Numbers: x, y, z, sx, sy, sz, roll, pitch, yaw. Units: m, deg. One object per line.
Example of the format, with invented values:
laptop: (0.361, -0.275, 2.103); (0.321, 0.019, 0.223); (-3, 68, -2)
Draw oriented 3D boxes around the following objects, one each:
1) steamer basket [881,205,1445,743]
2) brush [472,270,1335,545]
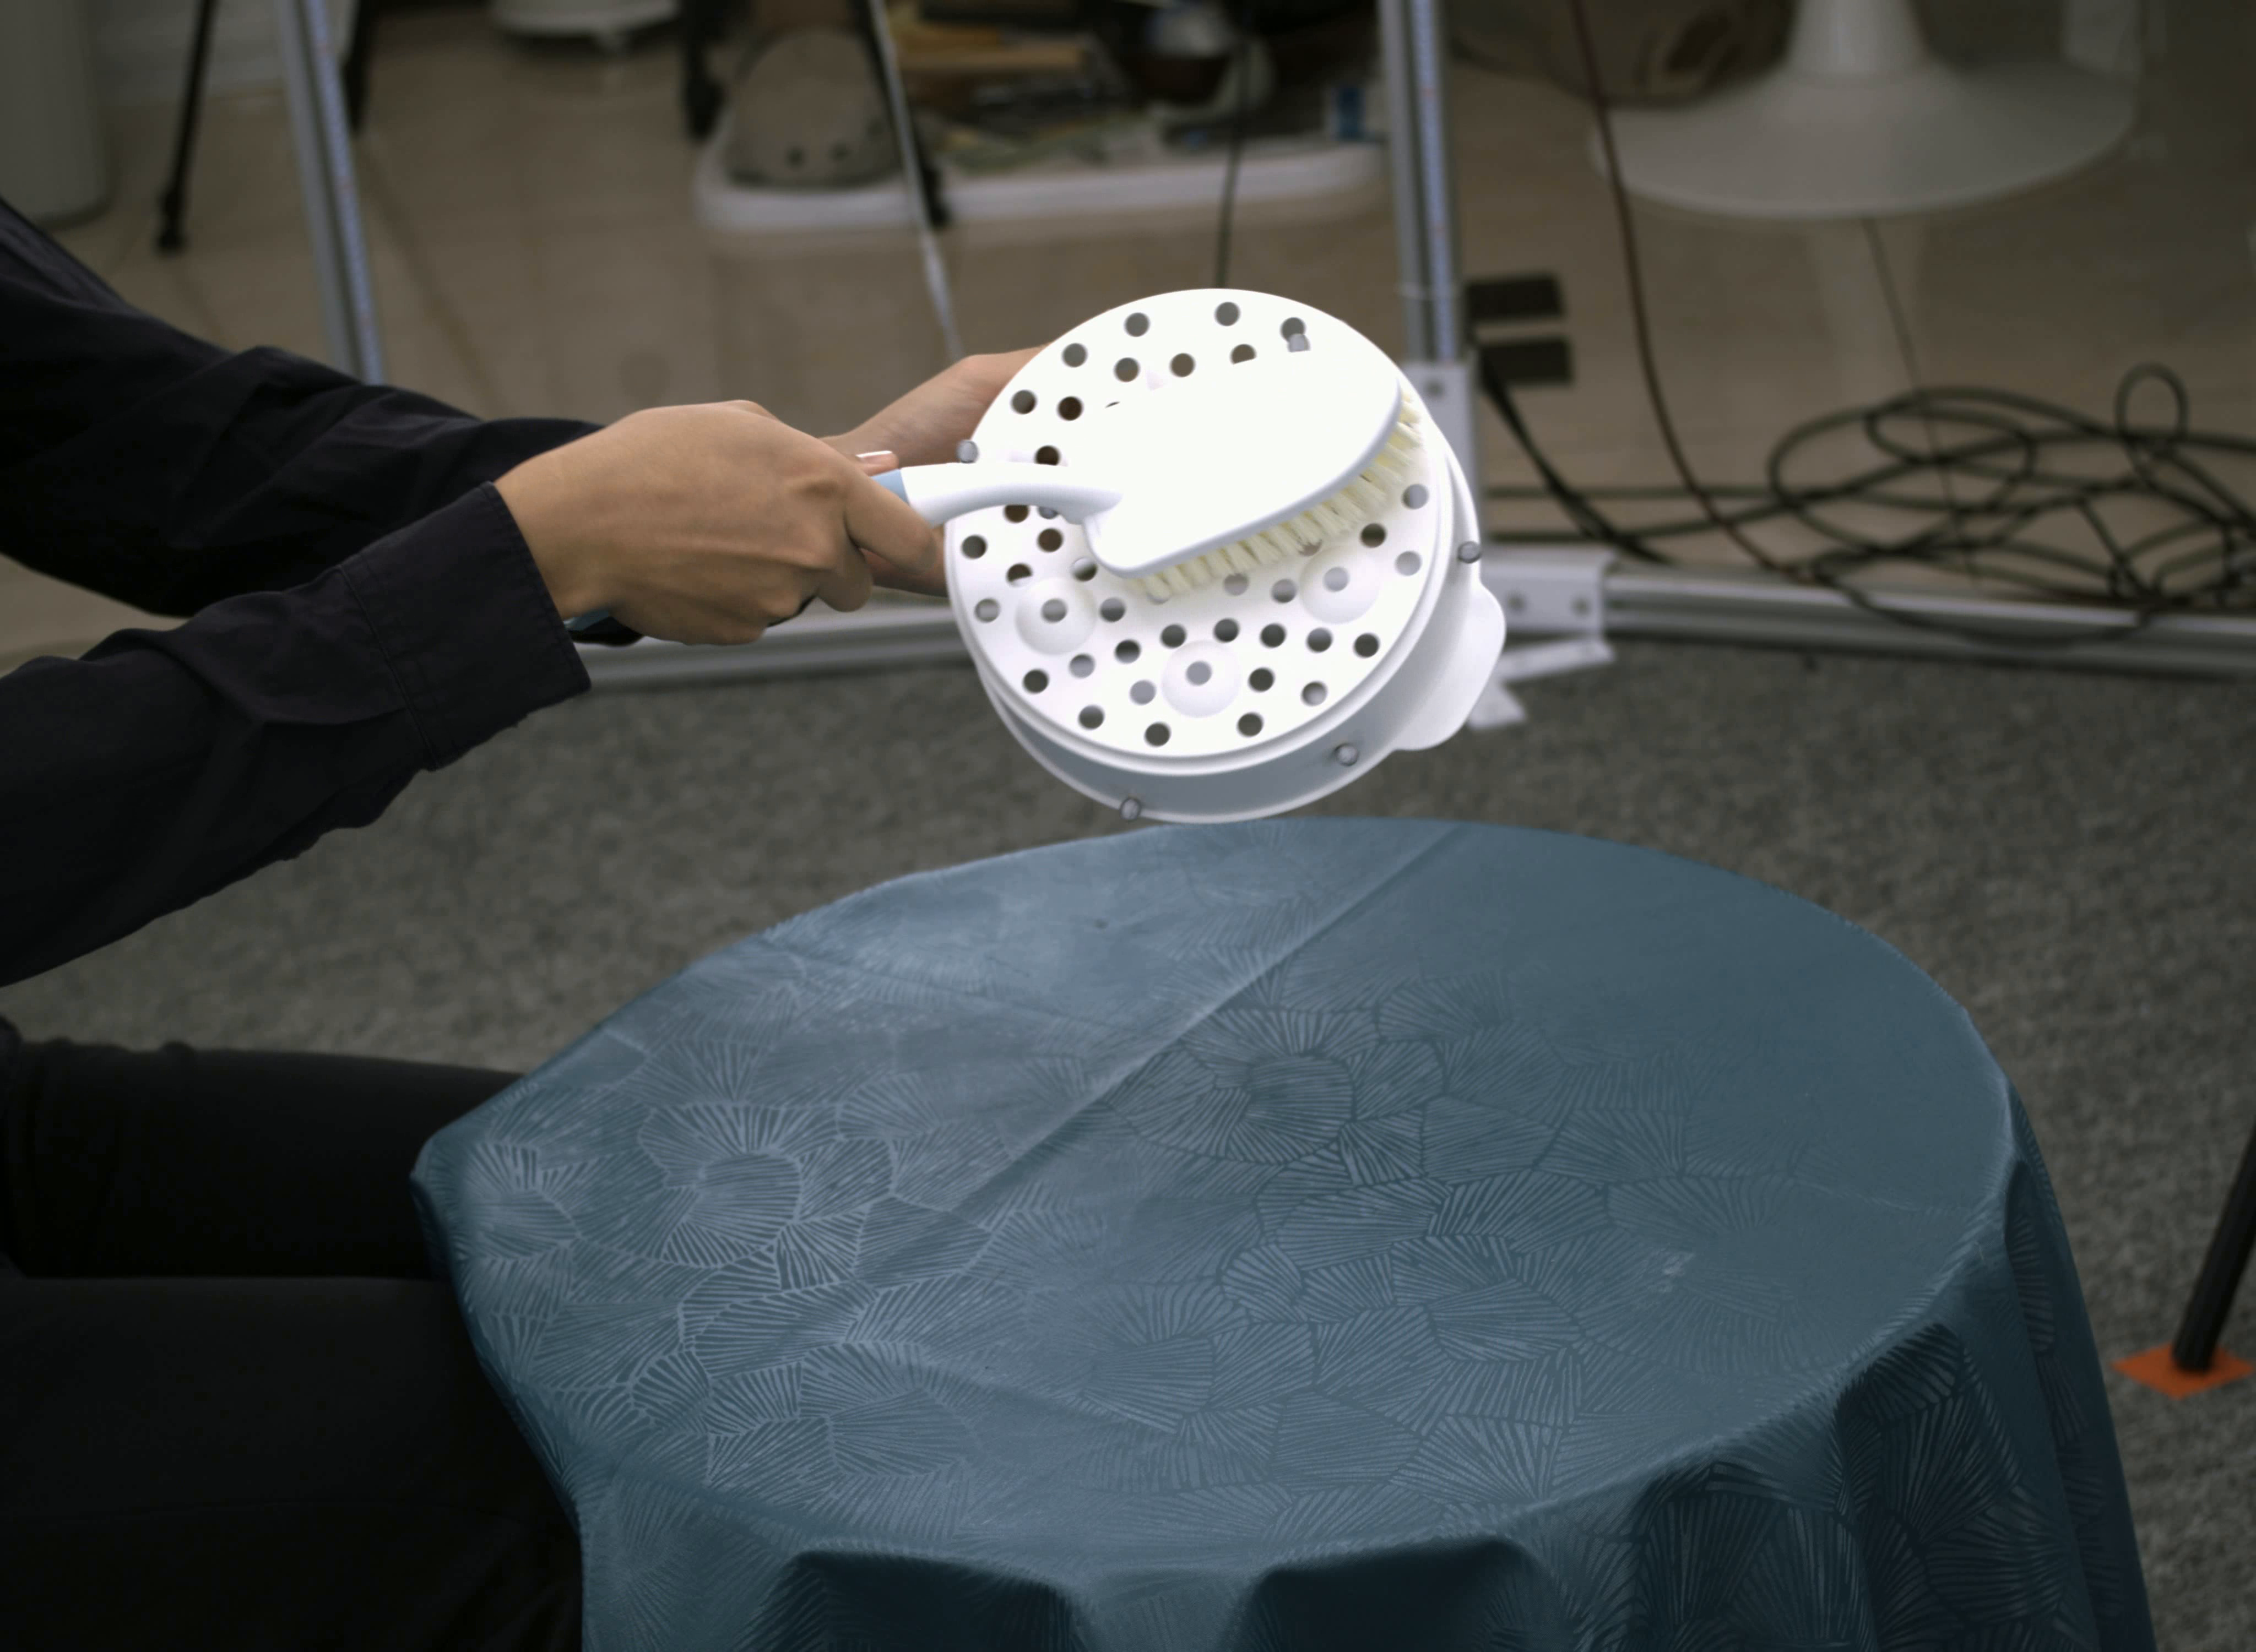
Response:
steamer basket: (0.008, -0.136, 2.146); (0.229, 0.201, 0.070); (24, -9, 15)
brush: (-0.082, -0.145, 2.101); (0.325, 0.086, 0.081); (-14, 34, 1)
